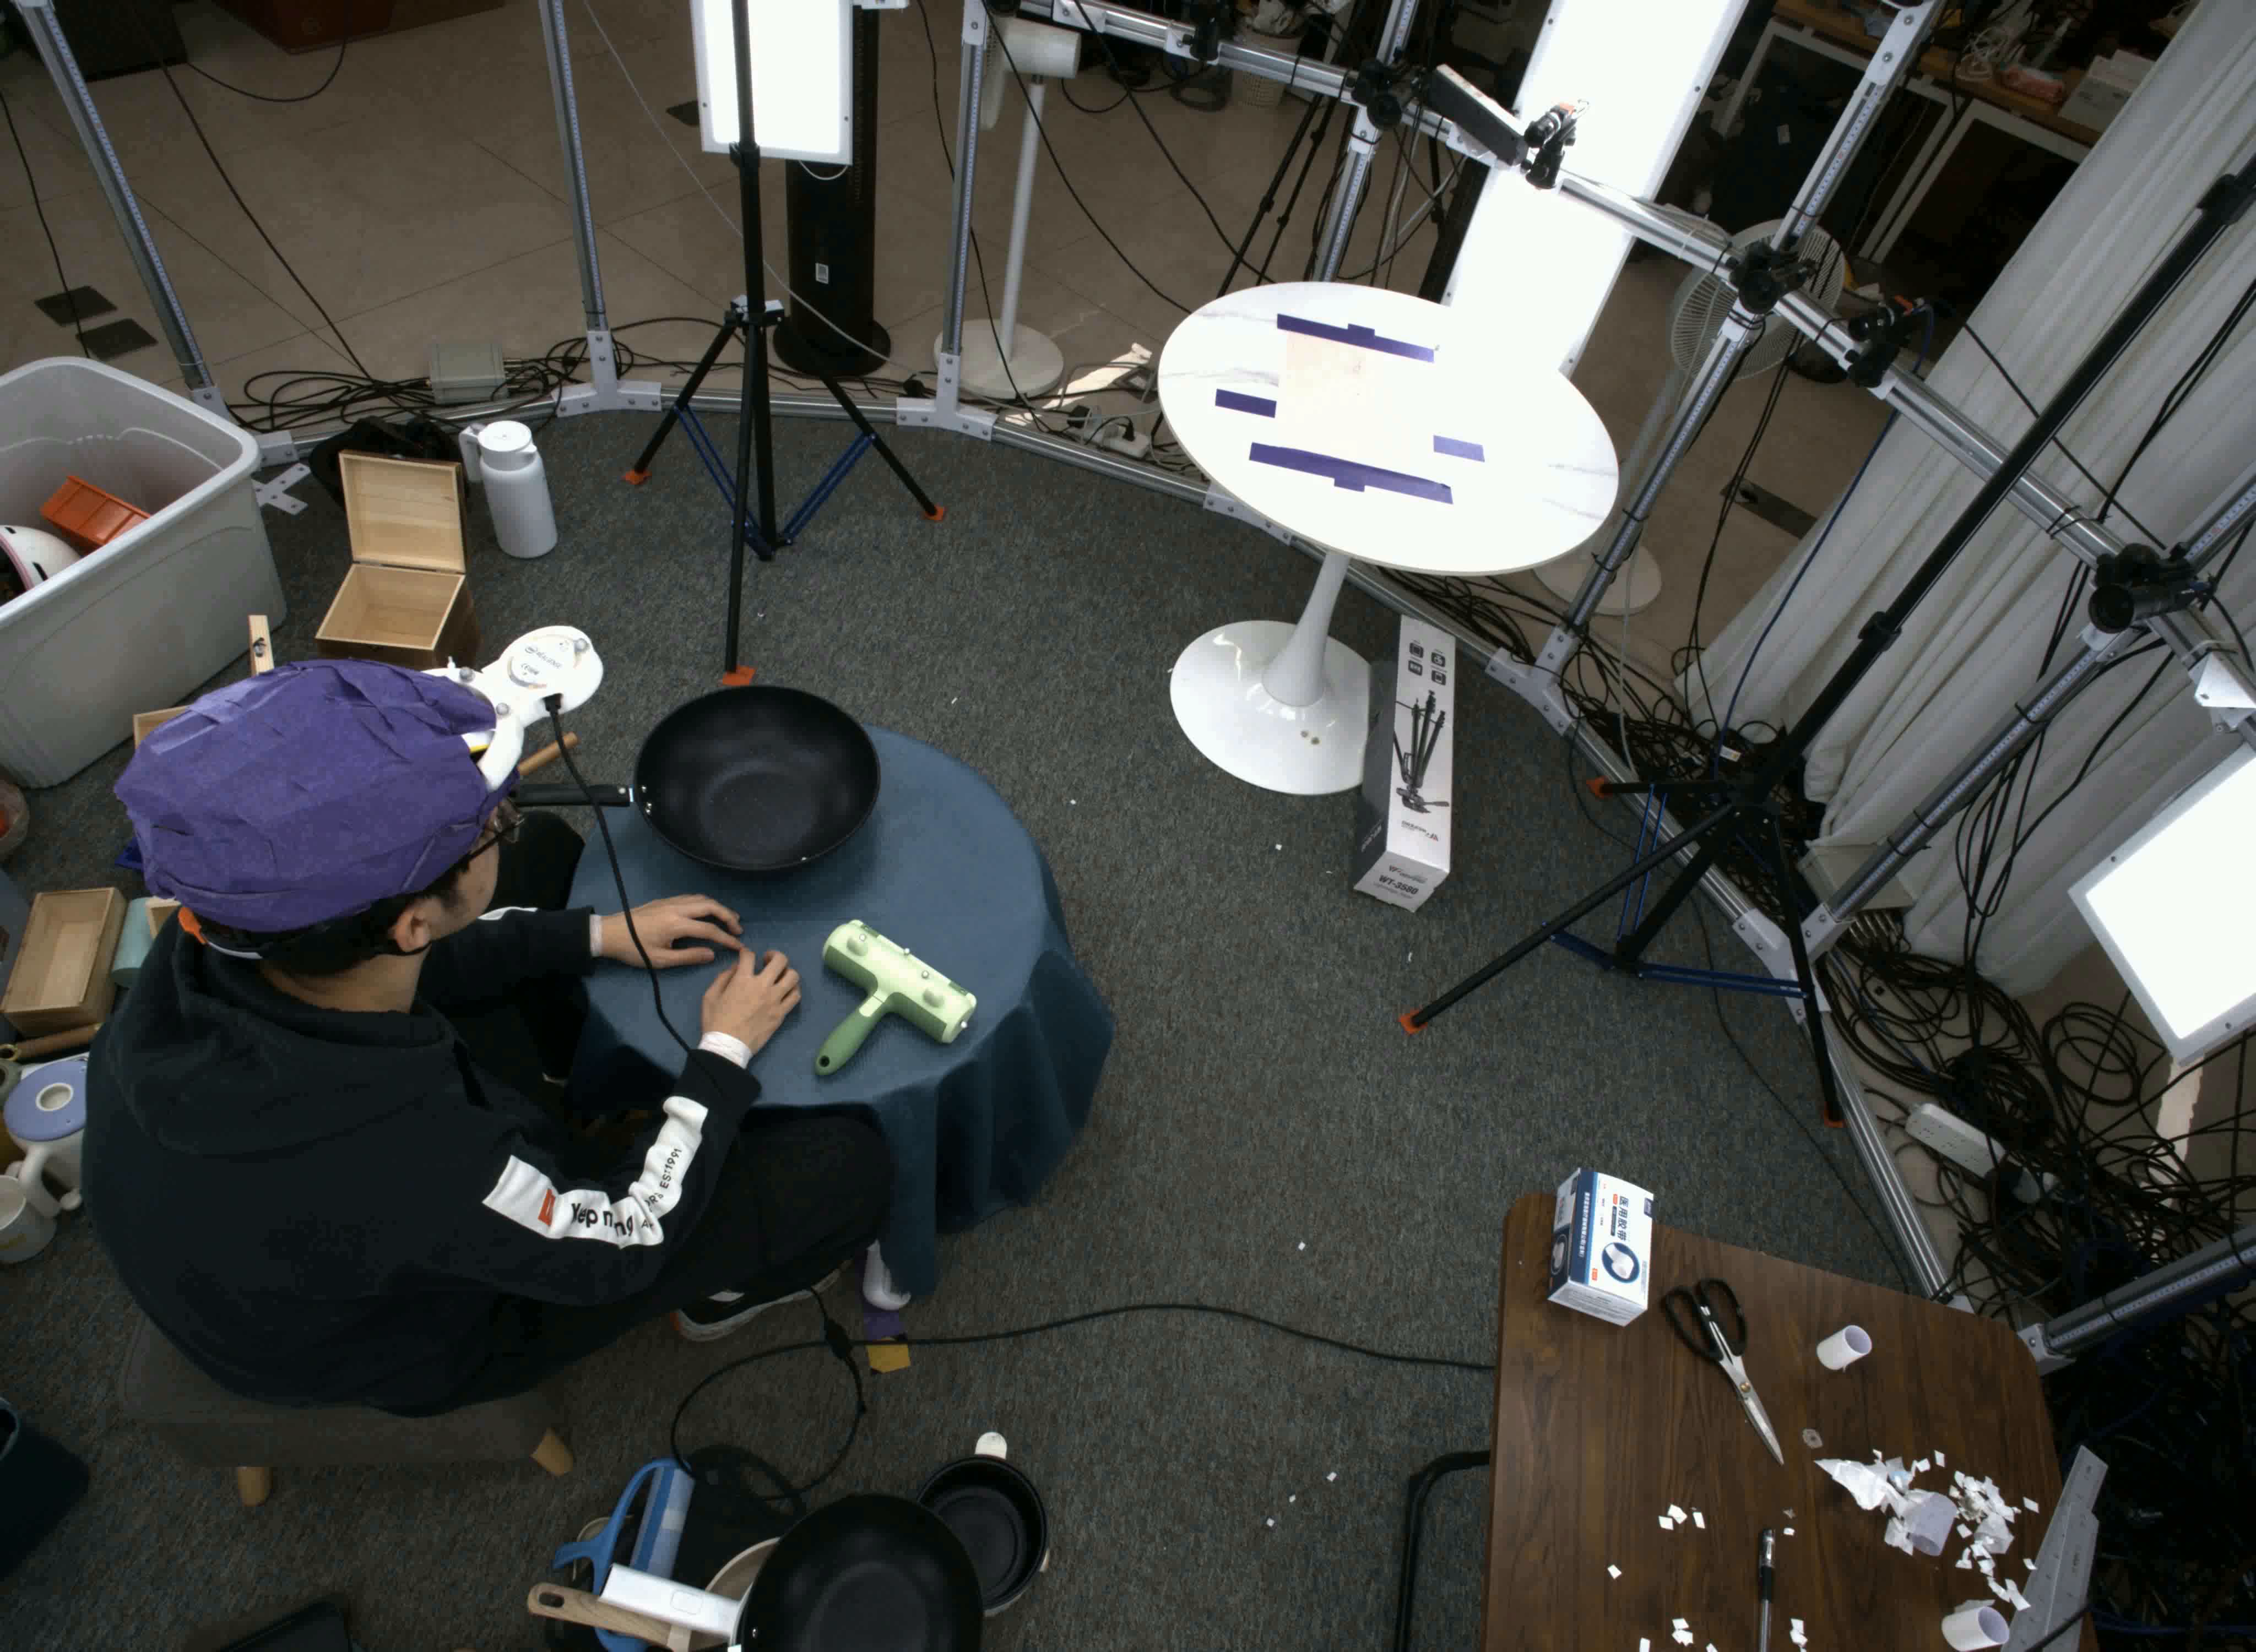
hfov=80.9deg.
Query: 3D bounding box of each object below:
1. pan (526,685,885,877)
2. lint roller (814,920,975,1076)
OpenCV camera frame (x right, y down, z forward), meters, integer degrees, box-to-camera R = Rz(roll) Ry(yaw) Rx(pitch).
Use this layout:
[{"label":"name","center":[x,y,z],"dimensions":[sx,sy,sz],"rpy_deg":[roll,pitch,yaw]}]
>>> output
[{"label":"pan","center":[-0.551,-0.040,1.657],"dimensions":[0.479,0.114,0.302],"rpy_deg":[-10,56,-22]},{"label":"lint roller","center":[-0.311,0.214,1.553],"dimensions":[0.195,0.084,0.183],"rpy_deg":[32,48,10]}]
